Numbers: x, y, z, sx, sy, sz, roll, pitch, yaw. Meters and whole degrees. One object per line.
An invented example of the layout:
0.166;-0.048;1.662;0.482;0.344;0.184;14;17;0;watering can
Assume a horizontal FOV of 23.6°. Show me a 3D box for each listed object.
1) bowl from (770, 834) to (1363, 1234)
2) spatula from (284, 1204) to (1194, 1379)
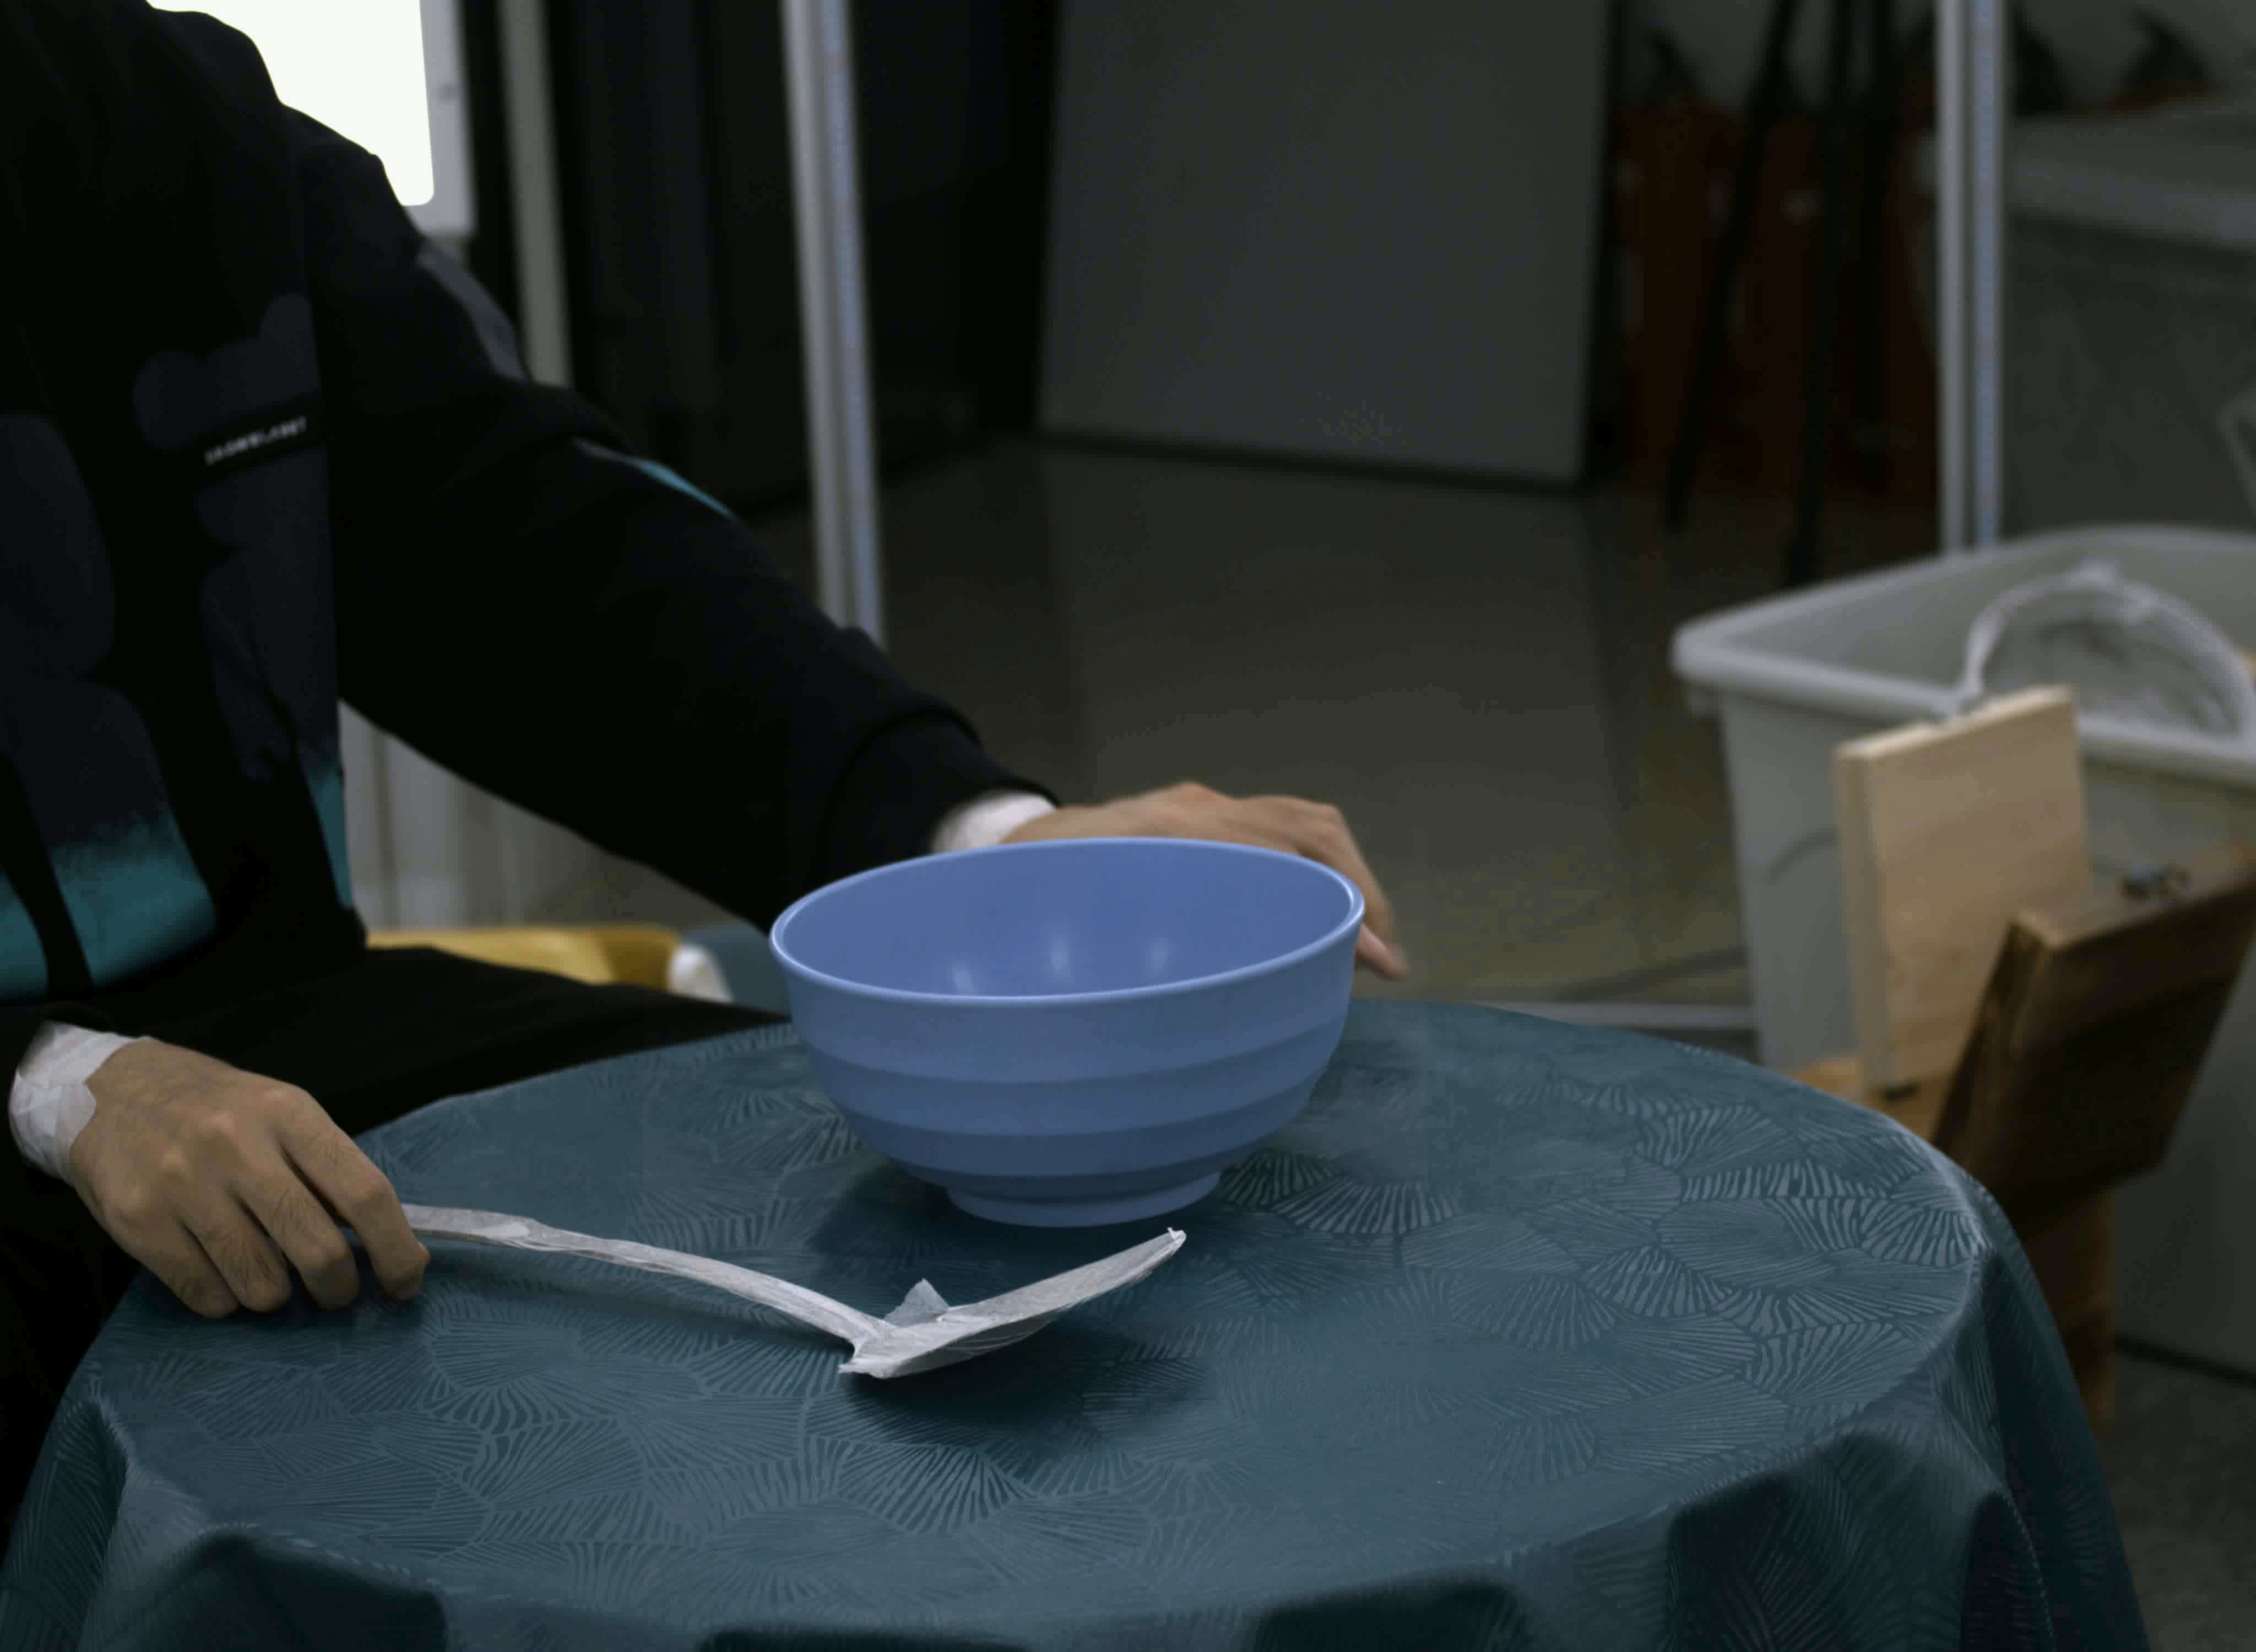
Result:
-0.017;0.074;1.770;0.194;0.096;0.197;-5;15;0;bowl
-0.141;0.133;1.685;0.367;0.045;0.097;7;20;37;spatula
